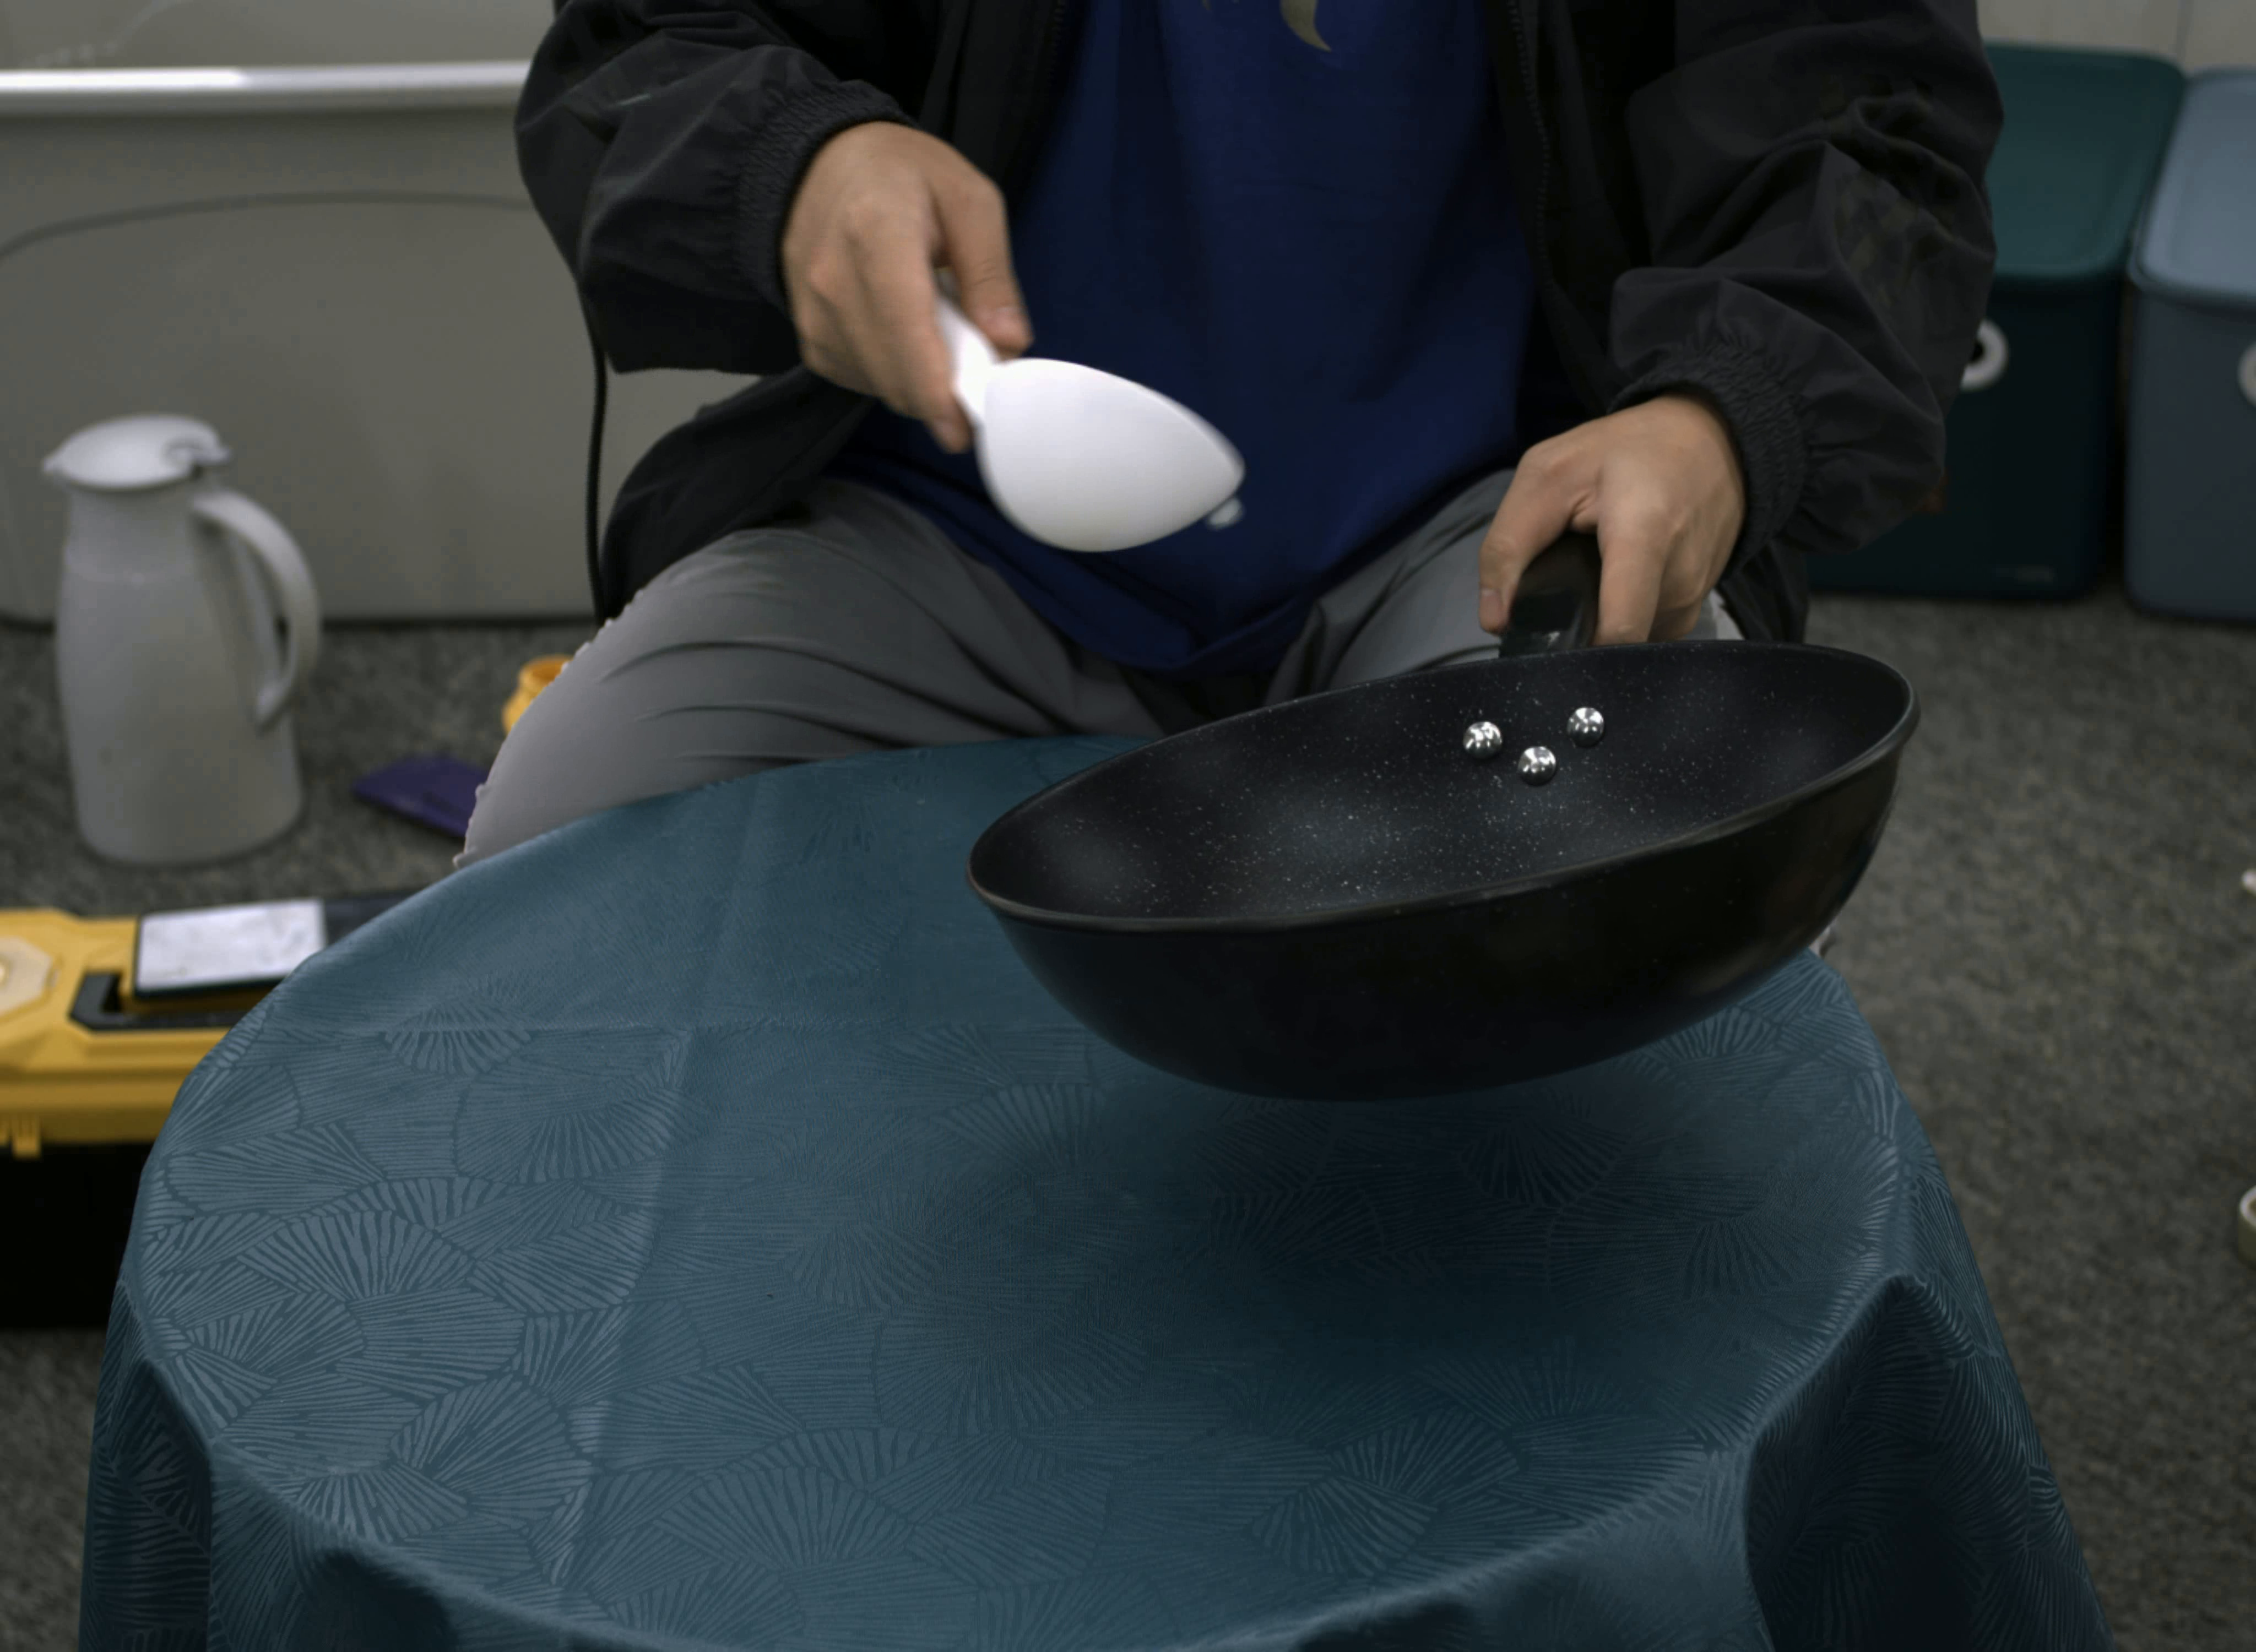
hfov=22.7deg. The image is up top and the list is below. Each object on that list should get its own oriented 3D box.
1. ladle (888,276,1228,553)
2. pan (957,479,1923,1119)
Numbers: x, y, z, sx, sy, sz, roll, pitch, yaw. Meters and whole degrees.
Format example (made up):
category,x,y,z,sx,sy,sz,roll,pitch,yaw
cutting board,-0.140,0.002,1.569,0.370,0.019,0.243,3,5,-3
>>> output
category,x,y,z,sx,sy,sz,roll,pitch,yaw
ladle,-0.037,-0.155,1.923,0.090,0.069,0.295,14,16,-16
pan,0.123,-0.008,1.872,0.307,0.111,0.482,-6,15,16
